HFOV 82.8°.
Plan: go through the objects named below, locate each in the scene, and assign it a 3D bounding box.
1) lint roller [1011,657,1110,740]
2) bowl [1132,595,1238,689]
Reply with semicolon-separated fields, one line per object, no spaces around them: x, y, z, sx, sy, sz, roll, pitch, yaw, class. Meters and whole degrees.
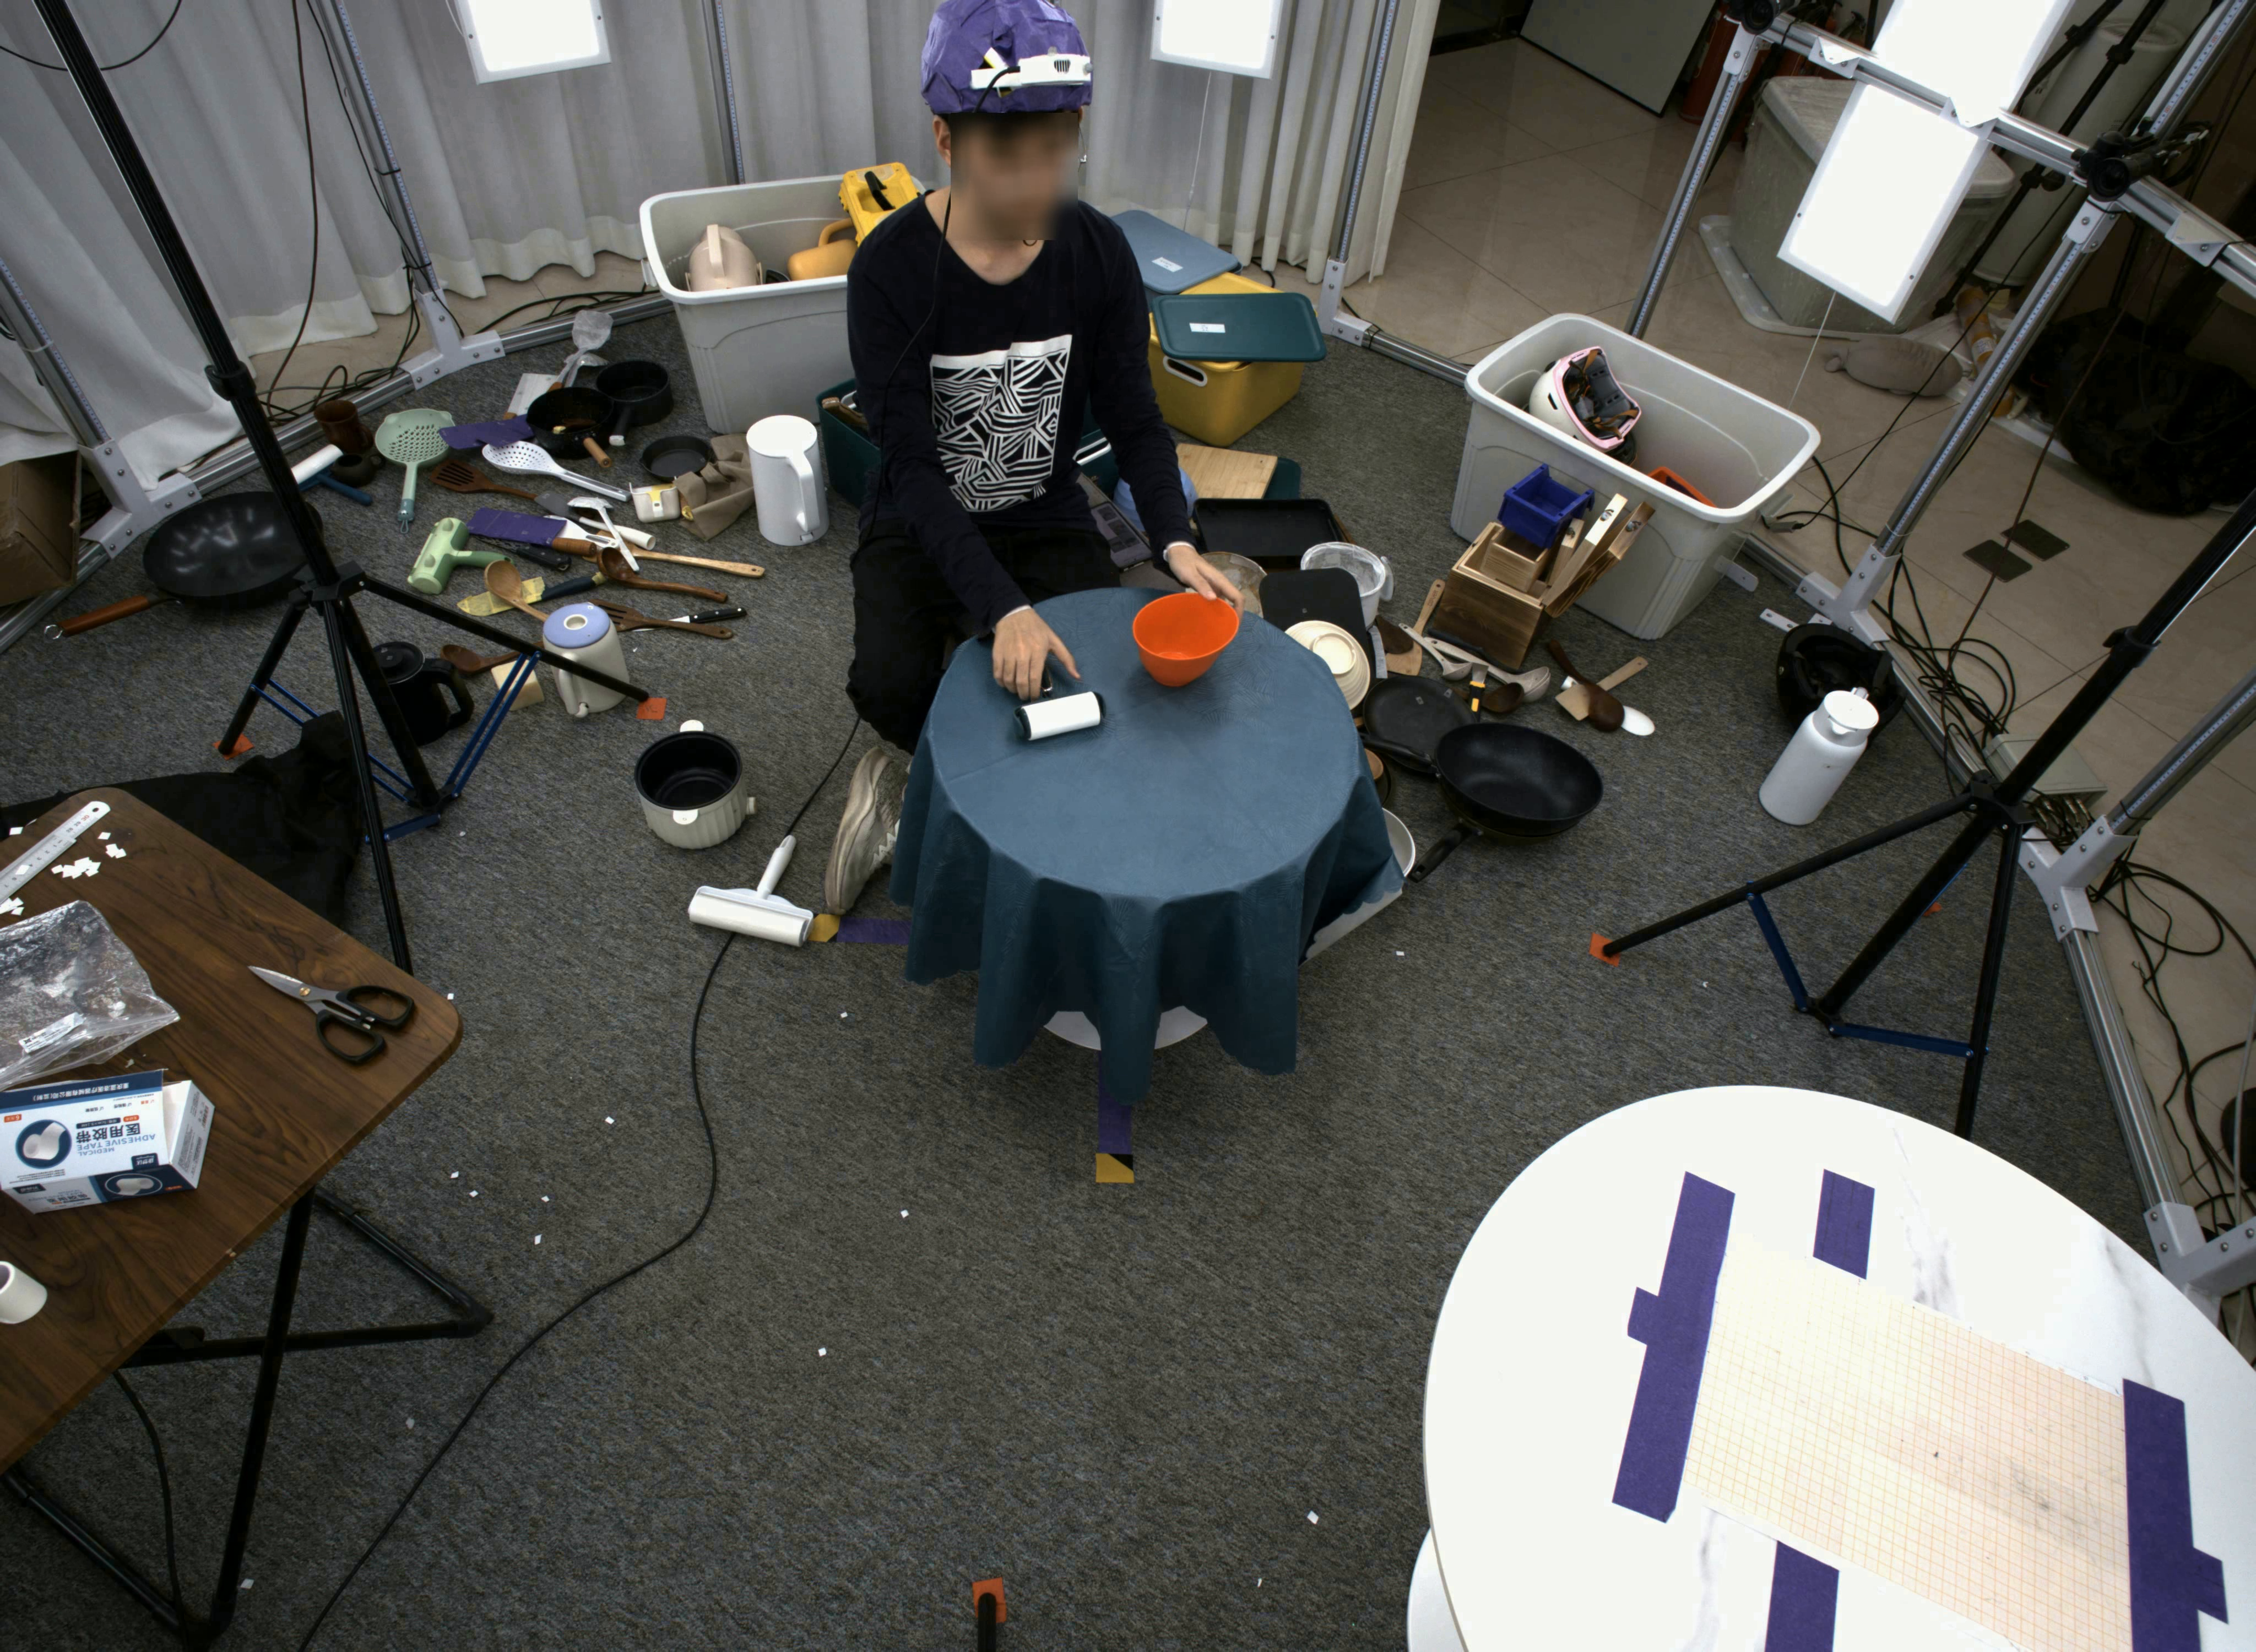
-0.117;-0.198;1.806;0.134;0.047;0.184;-14;48;-16;lint roller
0.078;-0.253;1.829;0.148;0.102;0.152;1;47;-1;bowl
